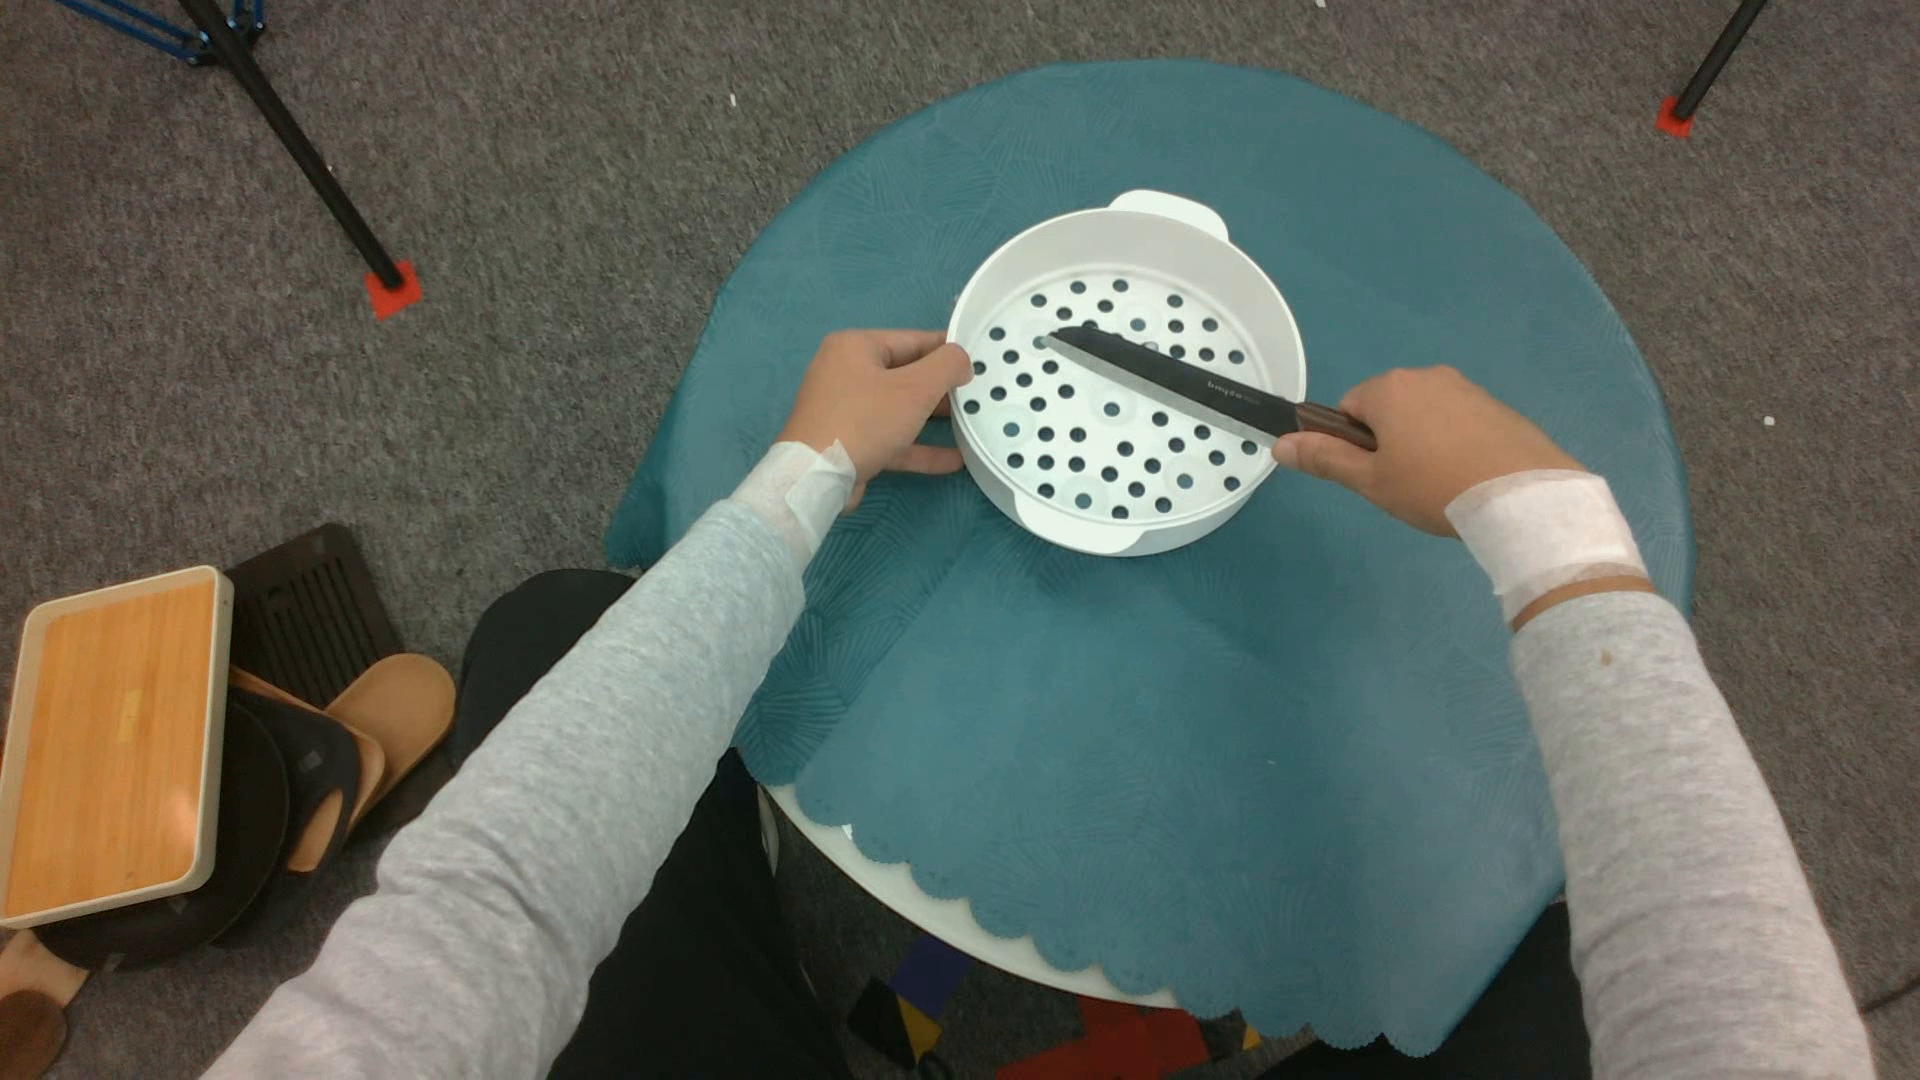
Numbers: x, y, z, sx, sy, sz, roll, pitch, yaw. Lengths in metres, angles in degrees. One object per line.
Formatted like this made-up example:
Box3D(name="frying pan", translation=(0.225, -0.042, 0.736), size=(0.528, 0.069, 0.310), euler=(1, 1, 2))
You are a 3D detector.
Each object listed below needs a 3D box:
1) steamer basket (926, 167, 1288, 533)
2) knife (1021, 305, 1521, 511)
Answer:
Box3D(name="steamer basket", translation=(0.081, -0.102, 0.791), size=(0.202, 0.069, 0.231), euler=(16, 70, 5))
Box3D(name="knife", translation=(0.149, -0.074, 0.724), size=(0.289, 0.050, 0.020), euler=(24, 61, 29))
